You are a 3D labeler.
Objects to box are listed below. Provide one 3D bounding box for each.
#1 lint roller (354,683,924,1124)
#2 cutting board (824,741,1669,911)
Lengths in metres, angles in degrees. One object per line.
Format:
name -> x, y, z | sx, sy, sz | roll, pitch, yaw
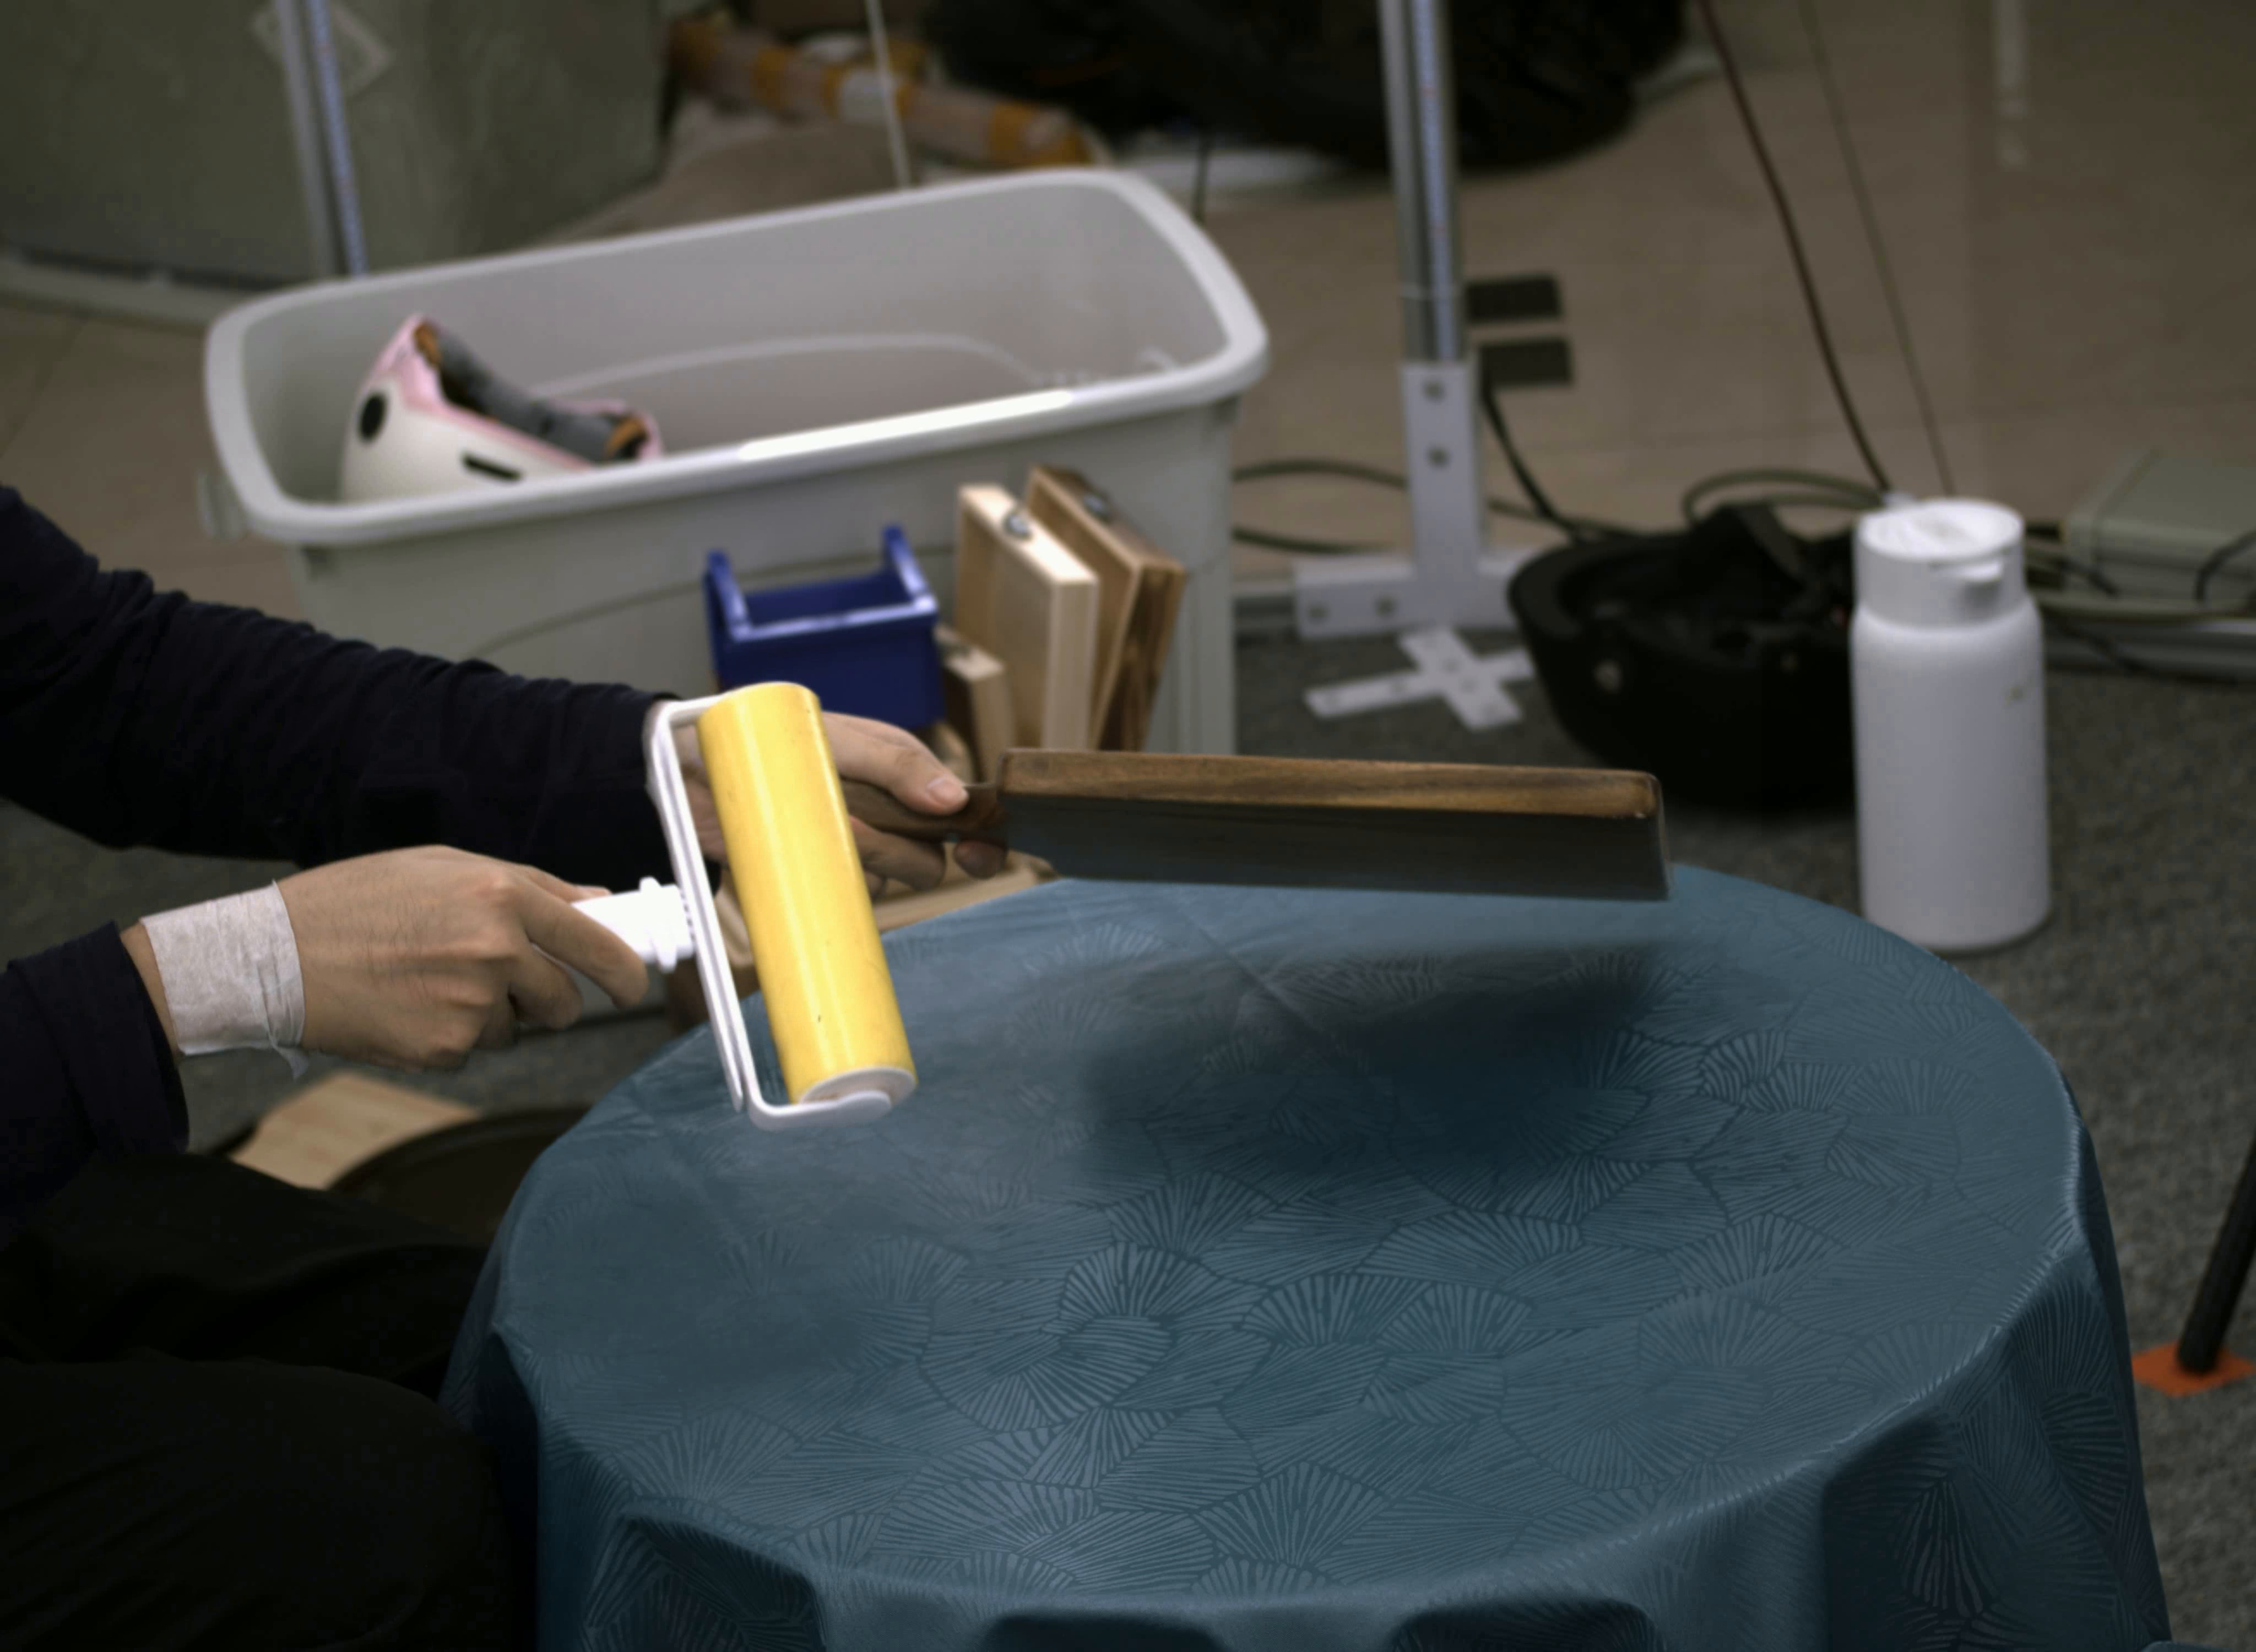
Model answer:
lint roller -> -0.185, 0.035, 2.056 | 0.191, 0.052, 0.172 | -6, 63, -26
cutting board -> 0.035, -0.001, 2.214 | 0.351, 0.023, 0.202 | 2, -11, 7
